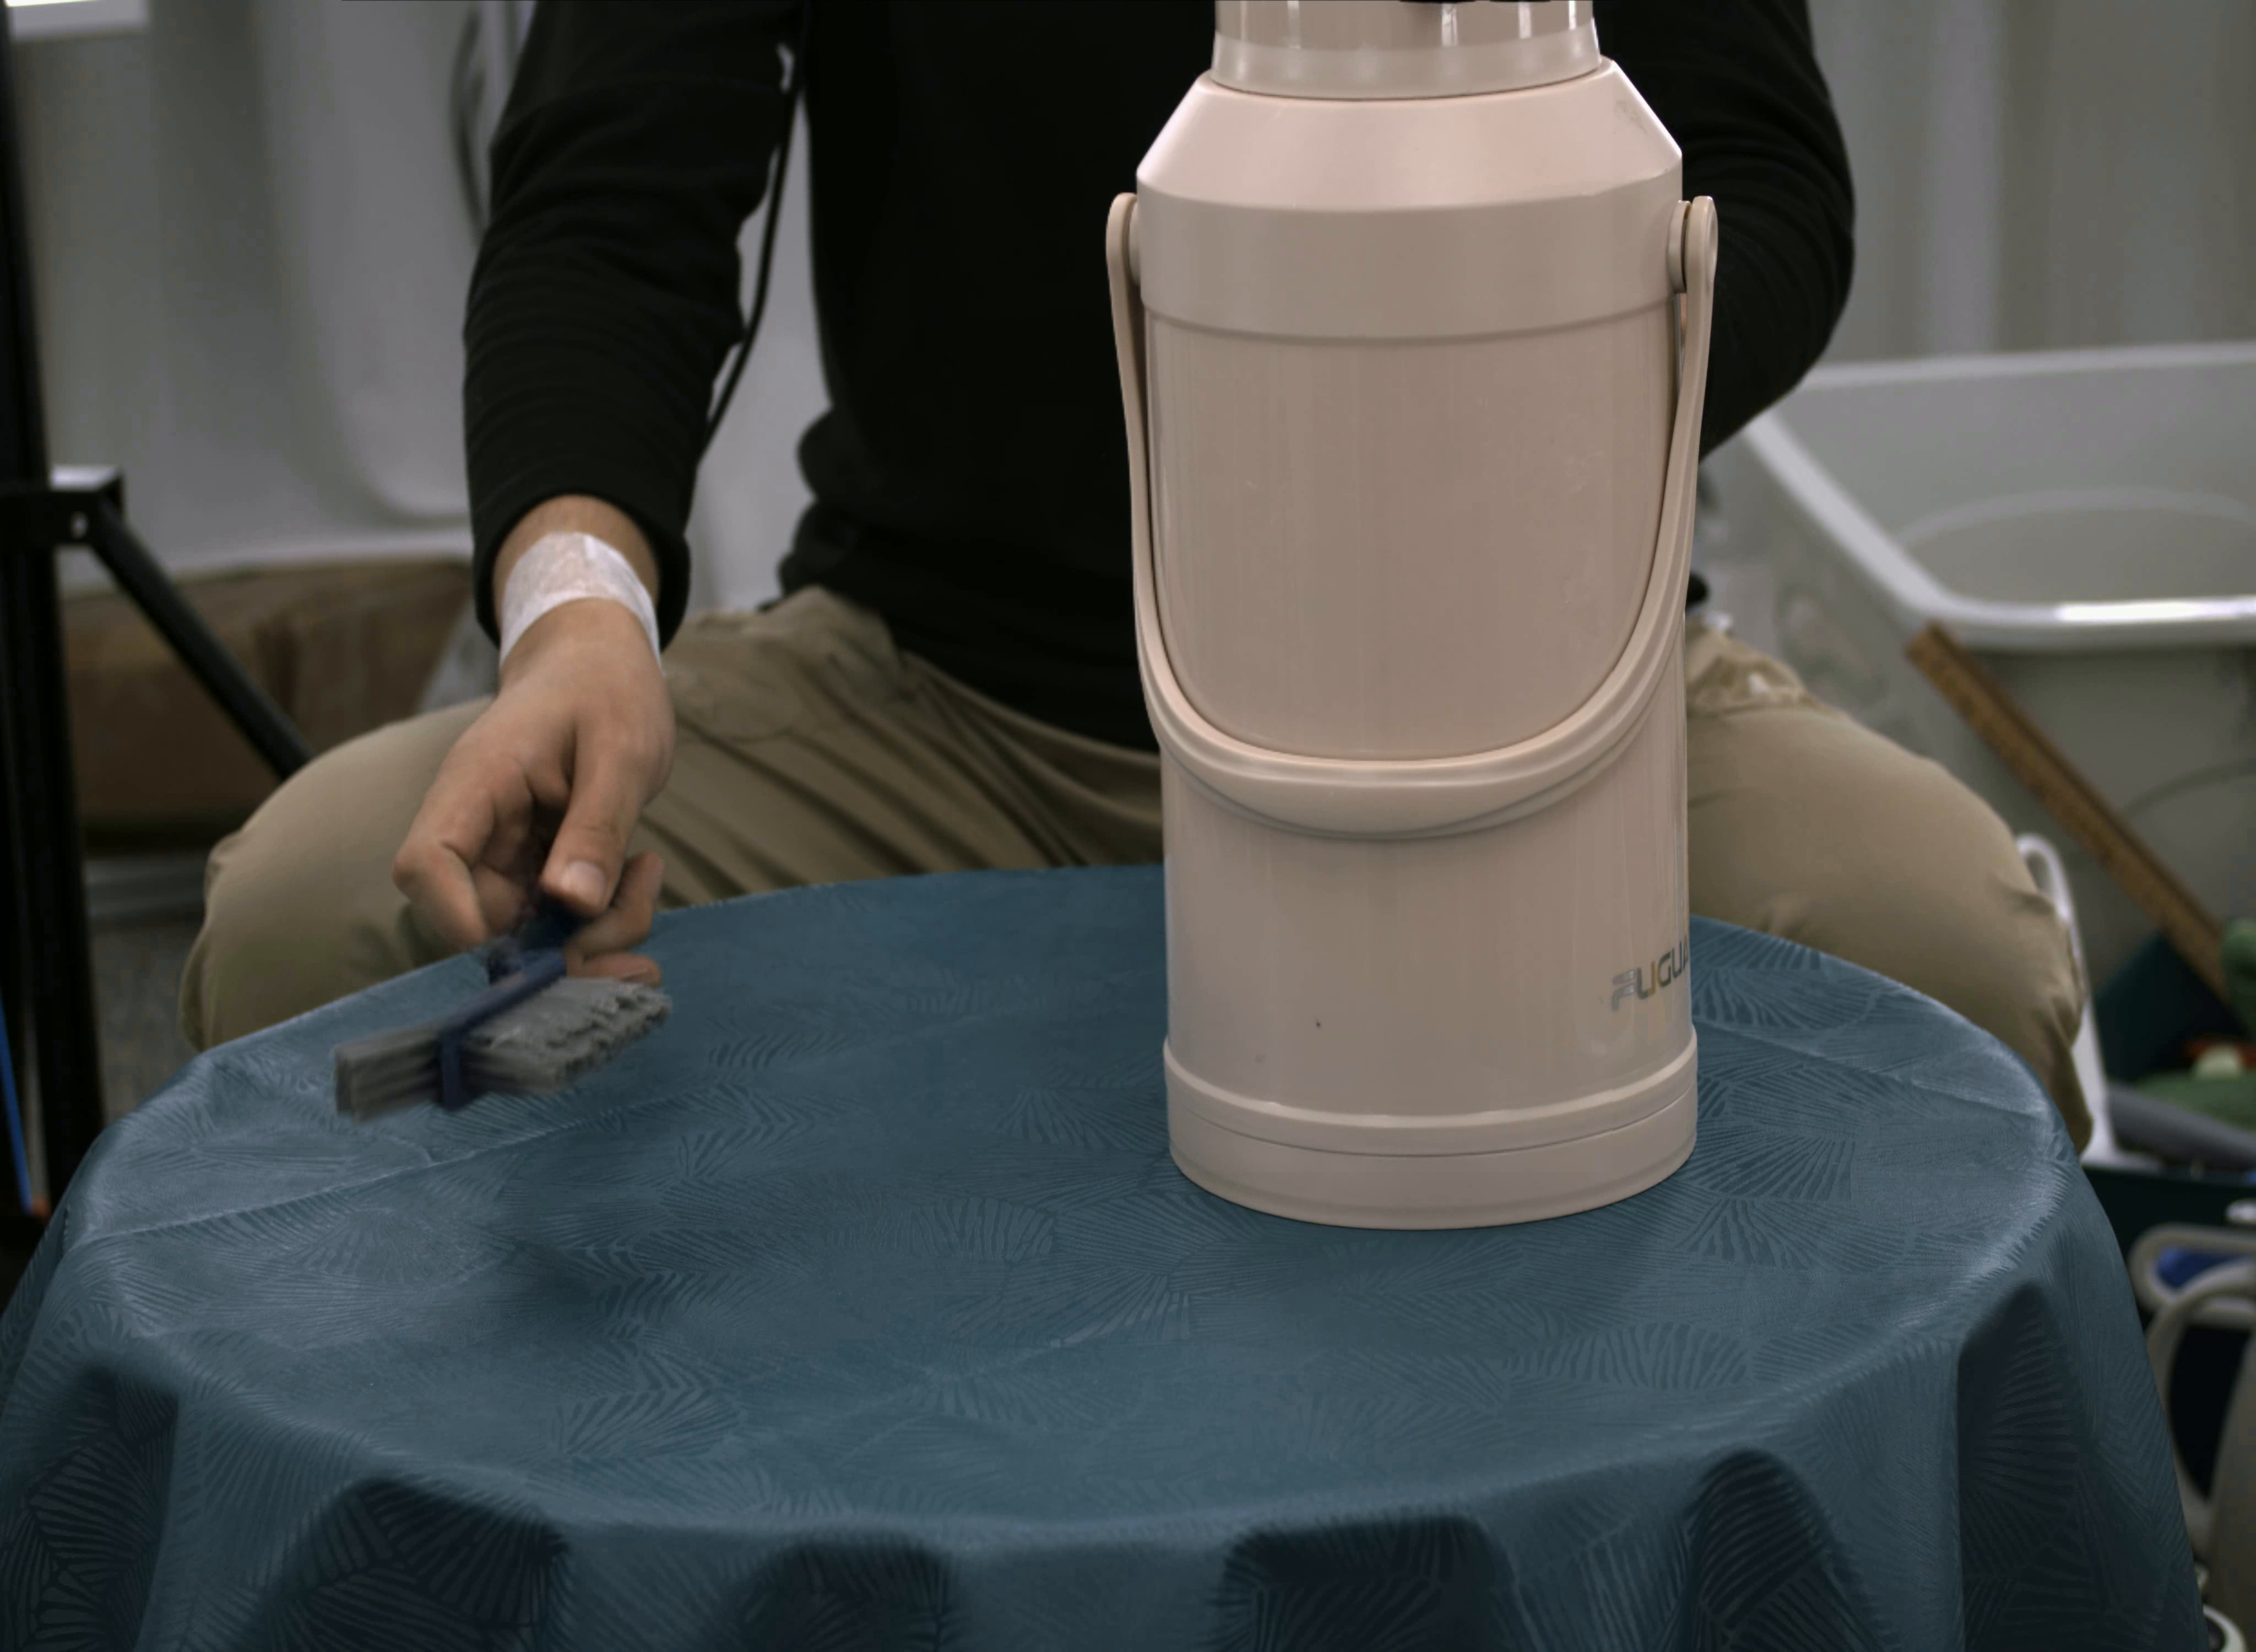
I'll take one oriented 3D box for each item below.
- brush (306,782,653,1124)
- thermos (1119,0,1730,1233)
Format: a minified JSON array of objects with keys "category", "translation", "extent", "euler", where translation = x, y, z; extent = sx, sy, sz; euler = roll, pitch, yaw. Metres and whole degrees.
[{"category":"brush","translation":[-0.189,0.036,1.606],"extent":[0.095,0.033,0.275],"euler":[-3,14,-3]},{"category":"thermos","translation":[0.092,-0.100,1.551],"extent":[0.177,0.406,0.205],"euler":[1,15,16]}]
